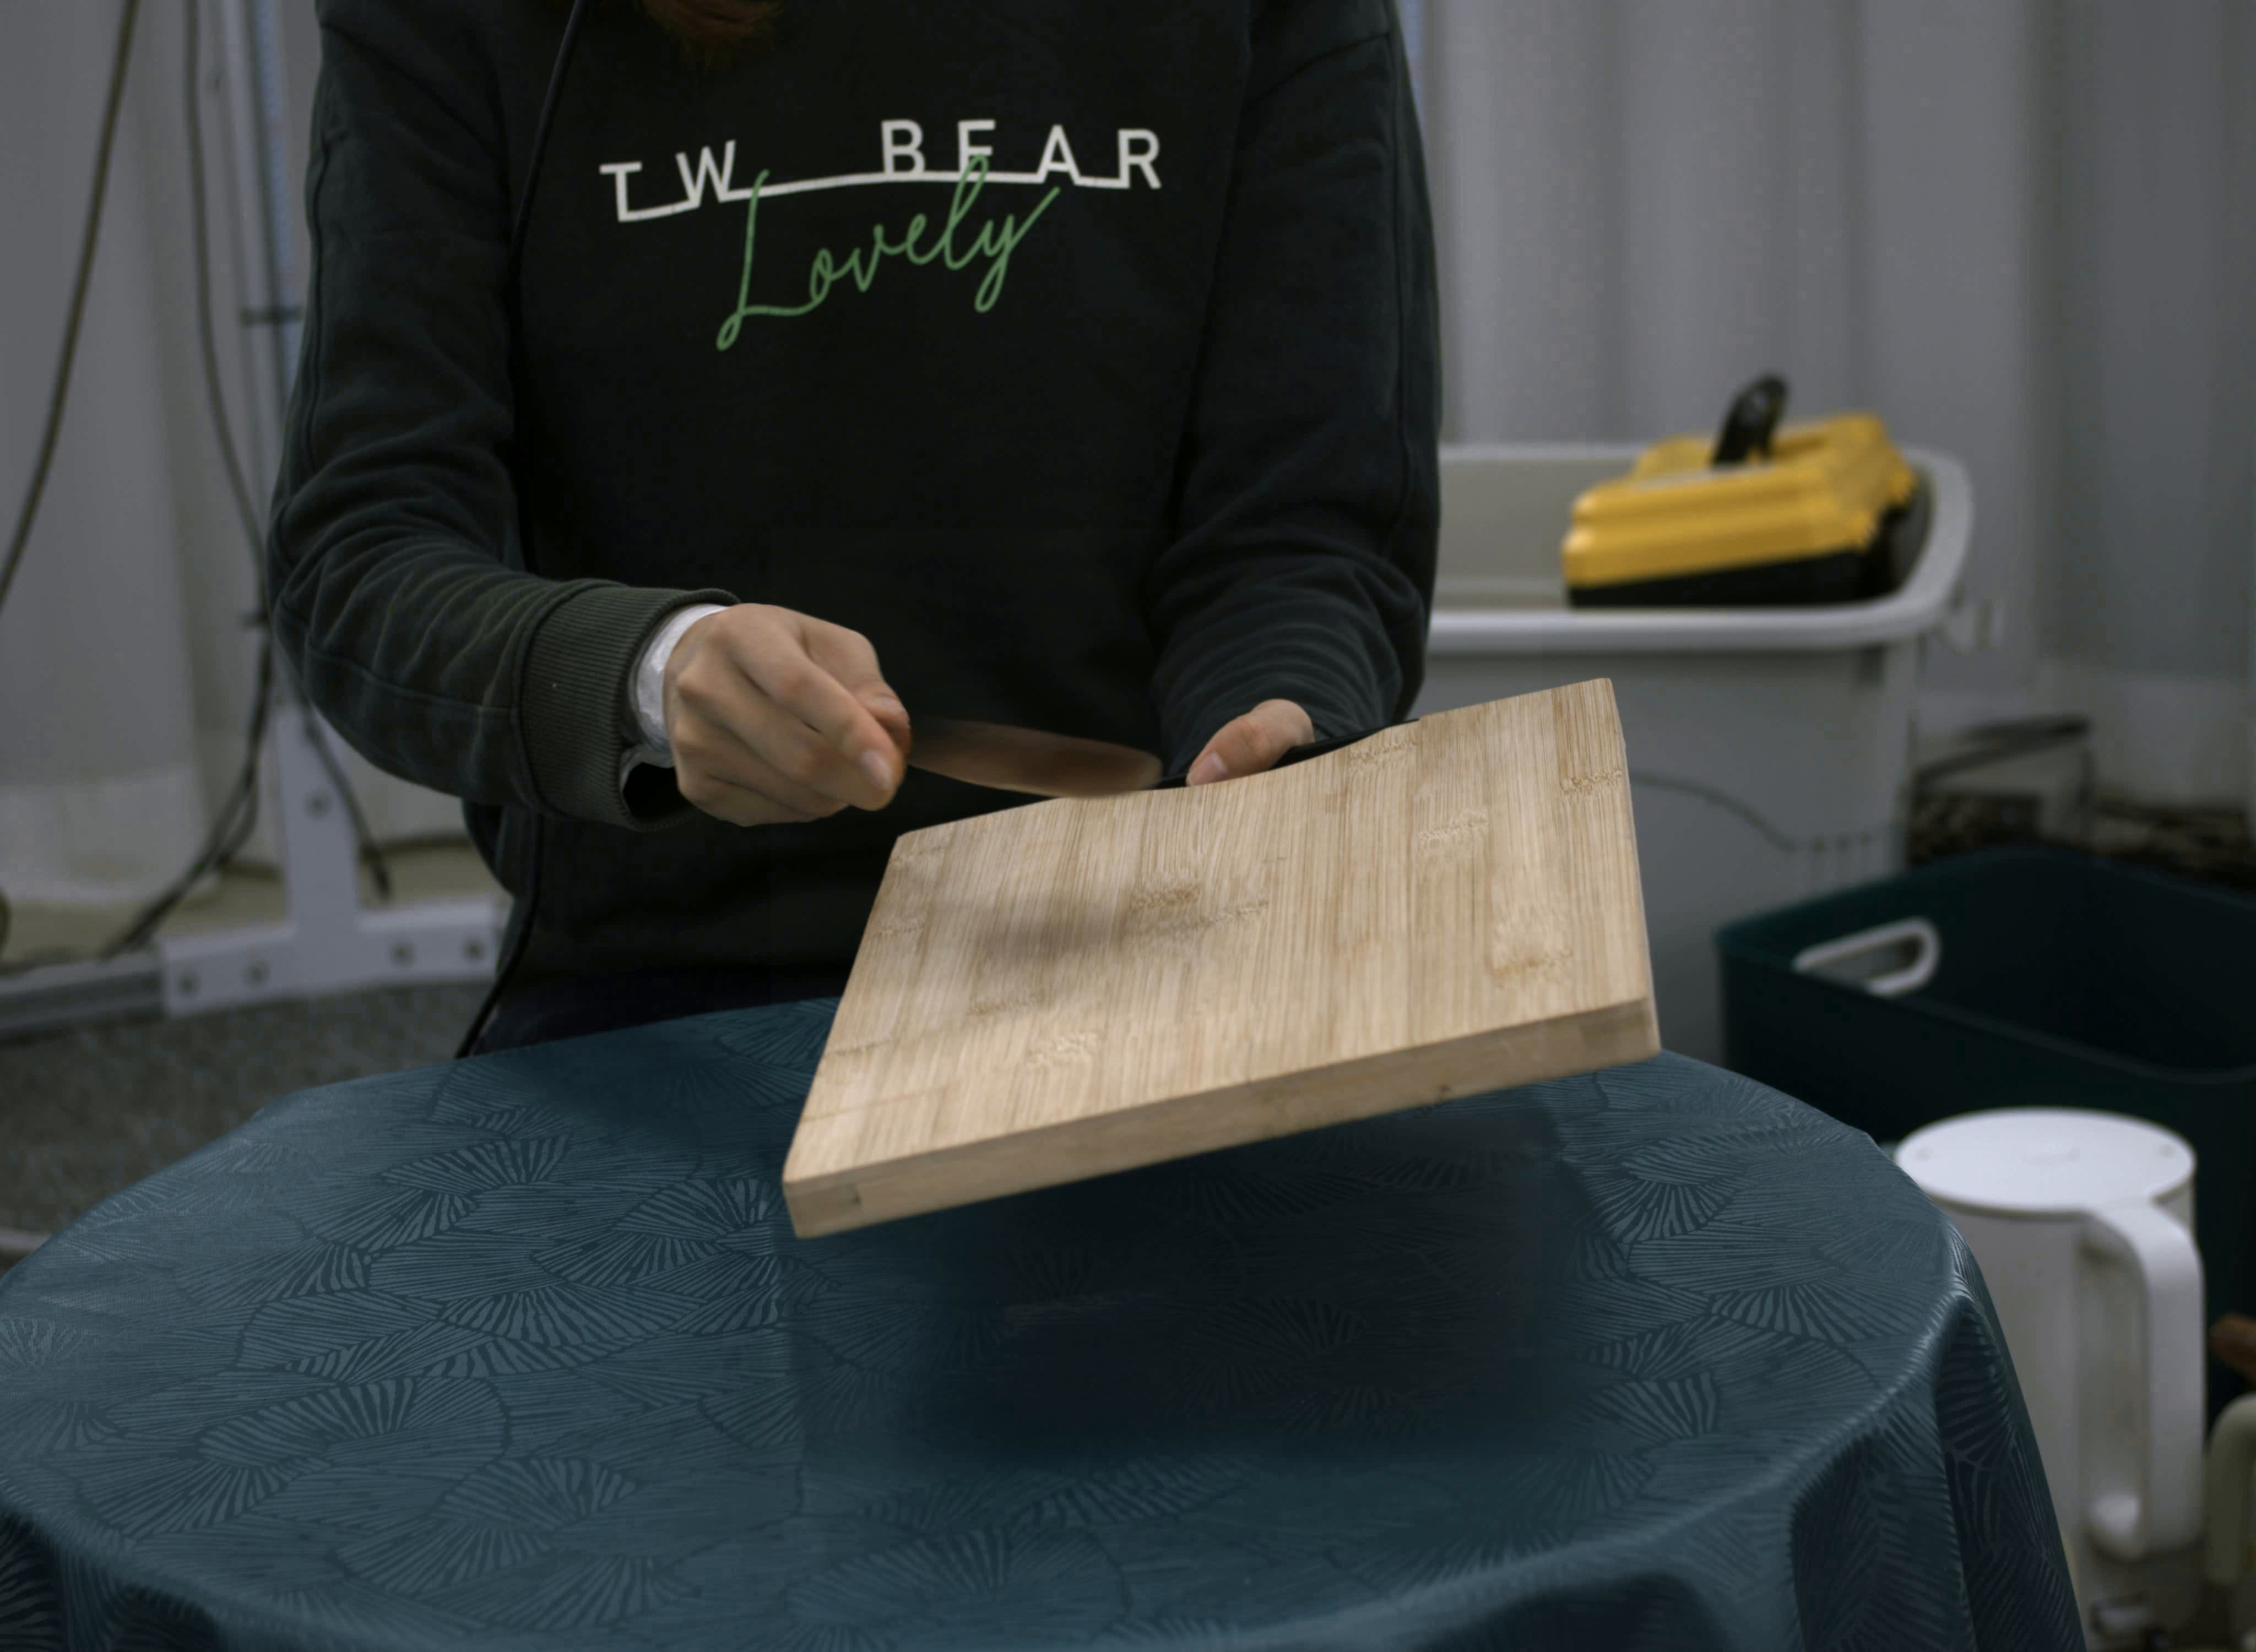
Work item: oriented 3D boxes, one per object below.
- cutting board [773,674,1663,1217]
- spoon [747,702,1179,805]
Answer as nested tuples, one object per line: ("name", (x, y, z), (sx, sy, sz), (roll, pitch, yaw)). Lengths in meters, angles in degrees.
("cutting board", (0.034, 0.030, 1.628), (0.250, 0.023, 0.351), (-12, 15, 6))
("spoon", (-0.059, -0.022, 1.673), (0.075, 0.017, 0.217), (8, 0, -32))
